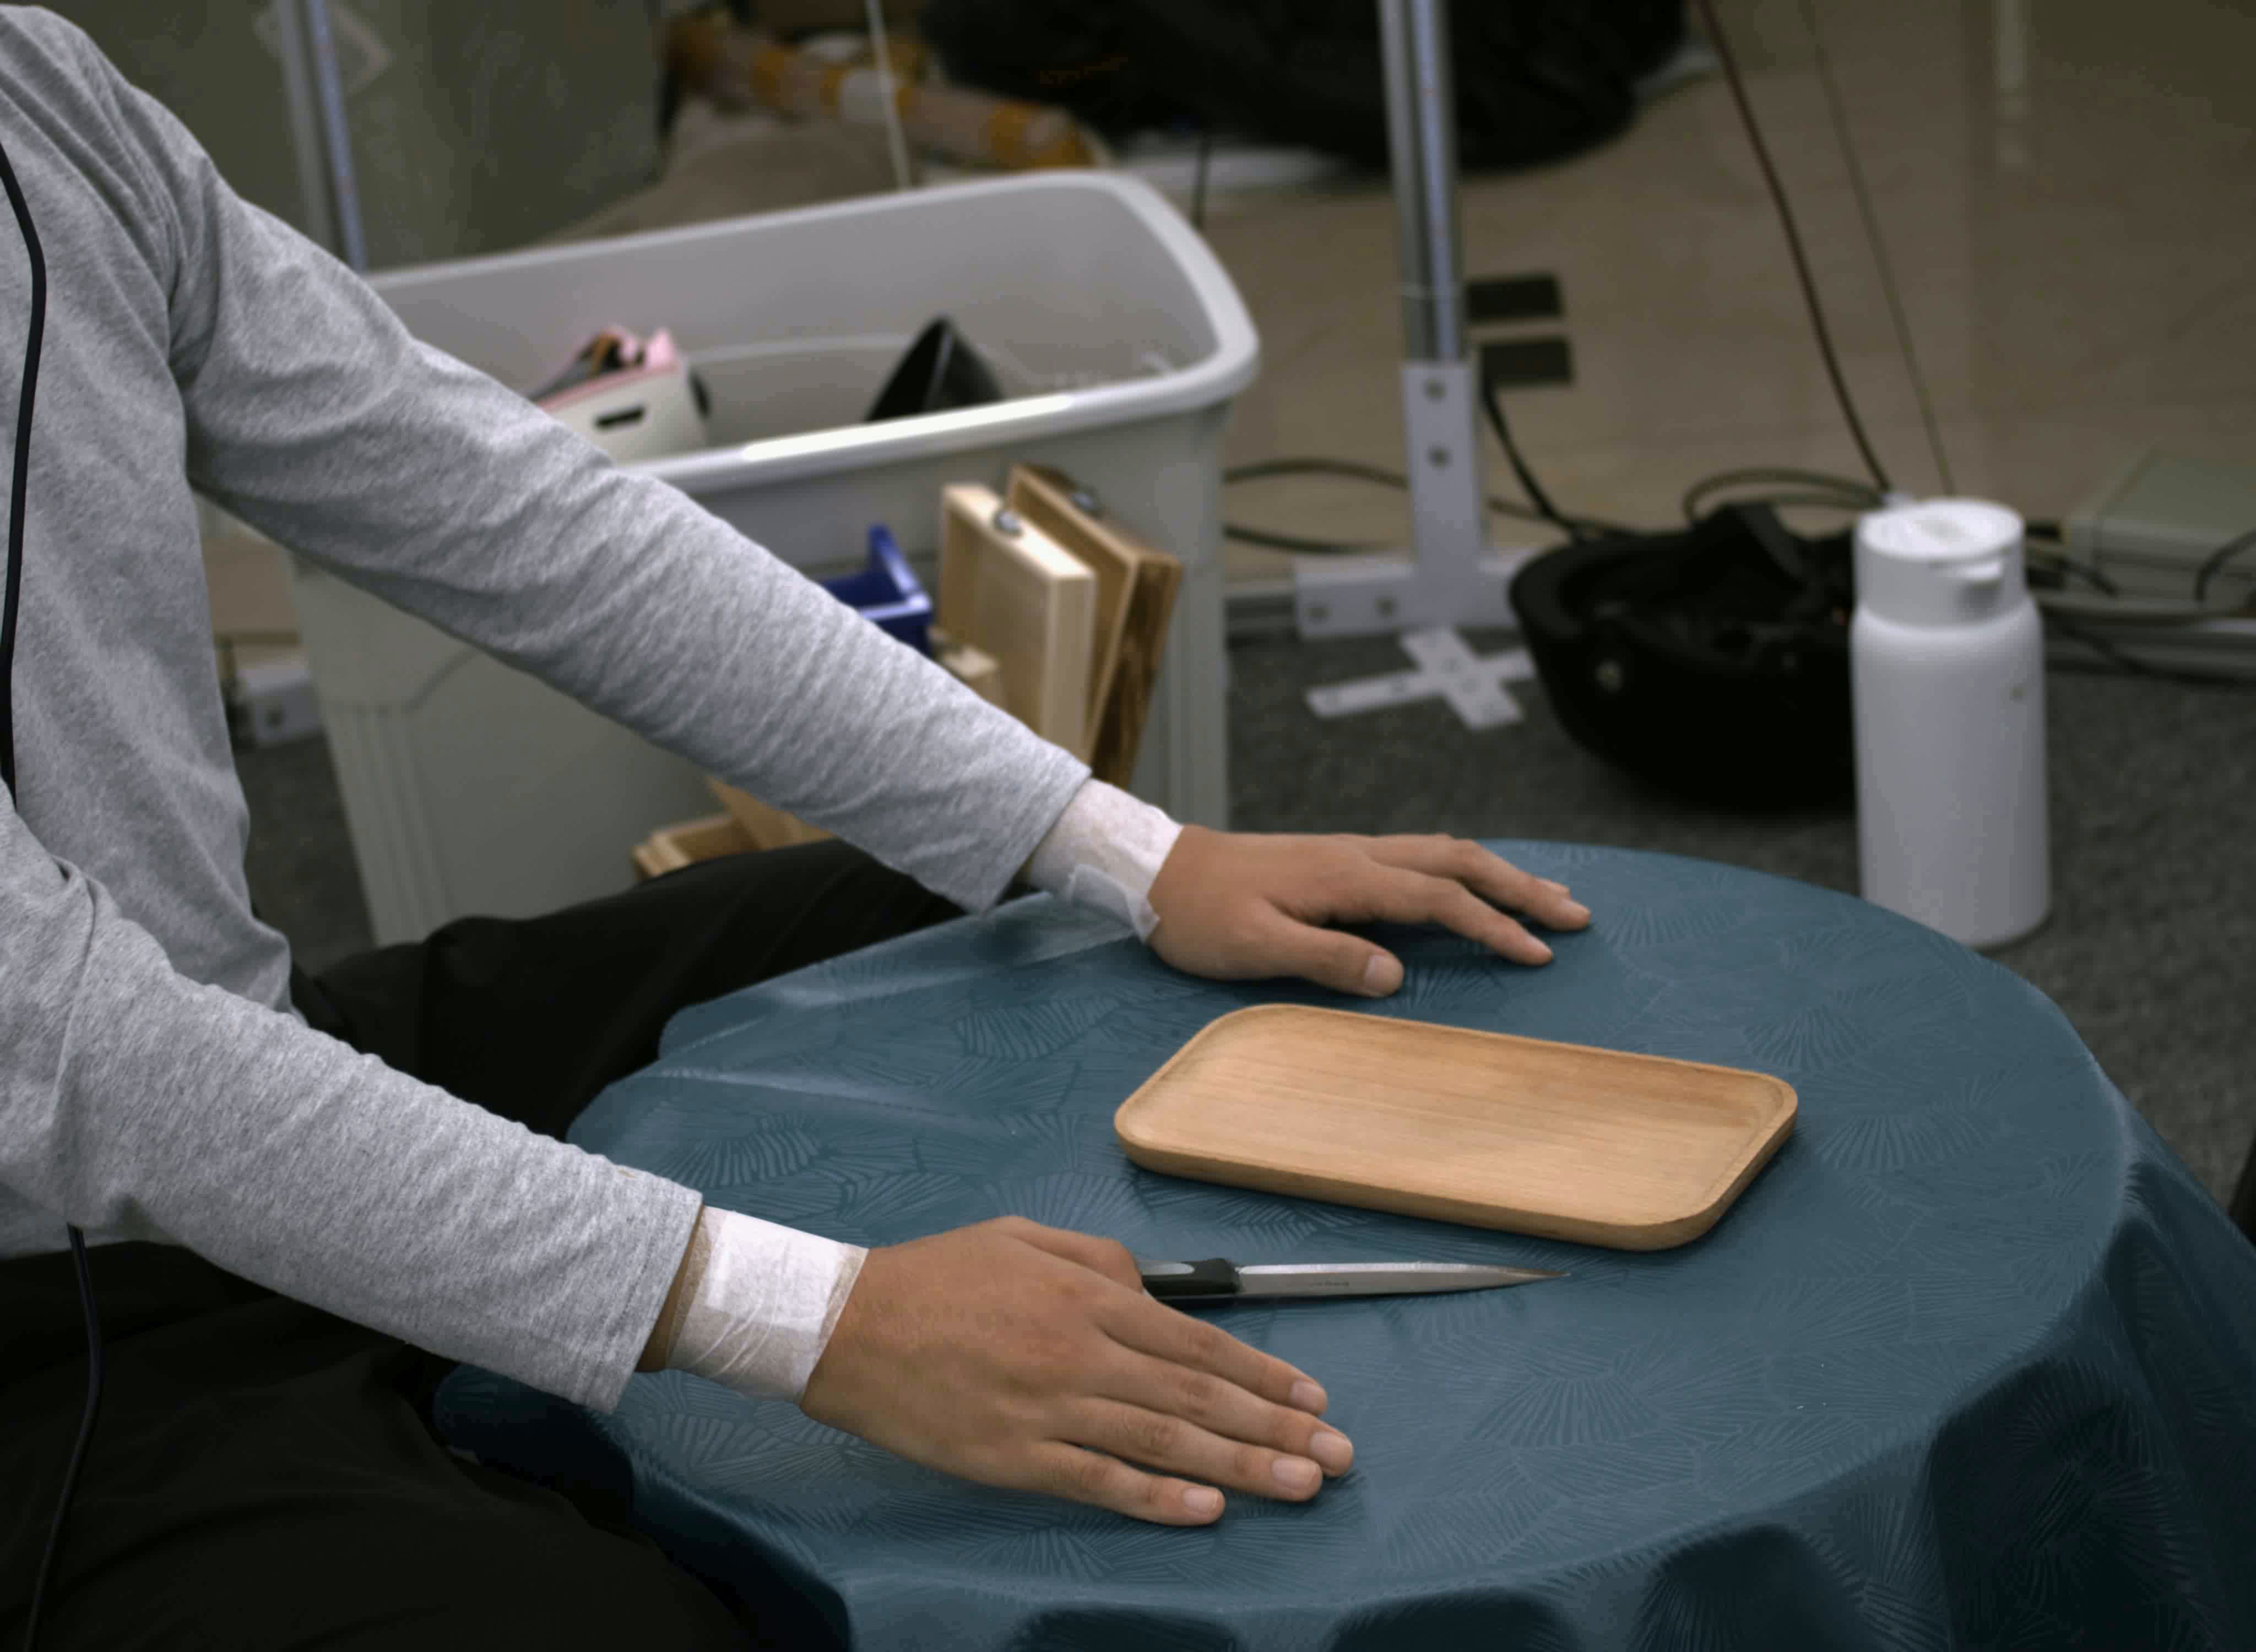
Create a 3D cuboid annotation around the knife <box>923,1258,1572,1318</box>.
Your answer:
[{"bbox_3d":[0.043,0.167,2.068,0.238,0.016,0.024,-2,26,3],"label":"knife"}]

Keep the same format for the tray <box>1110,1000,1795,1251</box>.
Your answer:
[{"bbox_3d":[0.122,0.113,2.158,0.249,0.023,0.129,7,25,30],"label":"tray"}]
